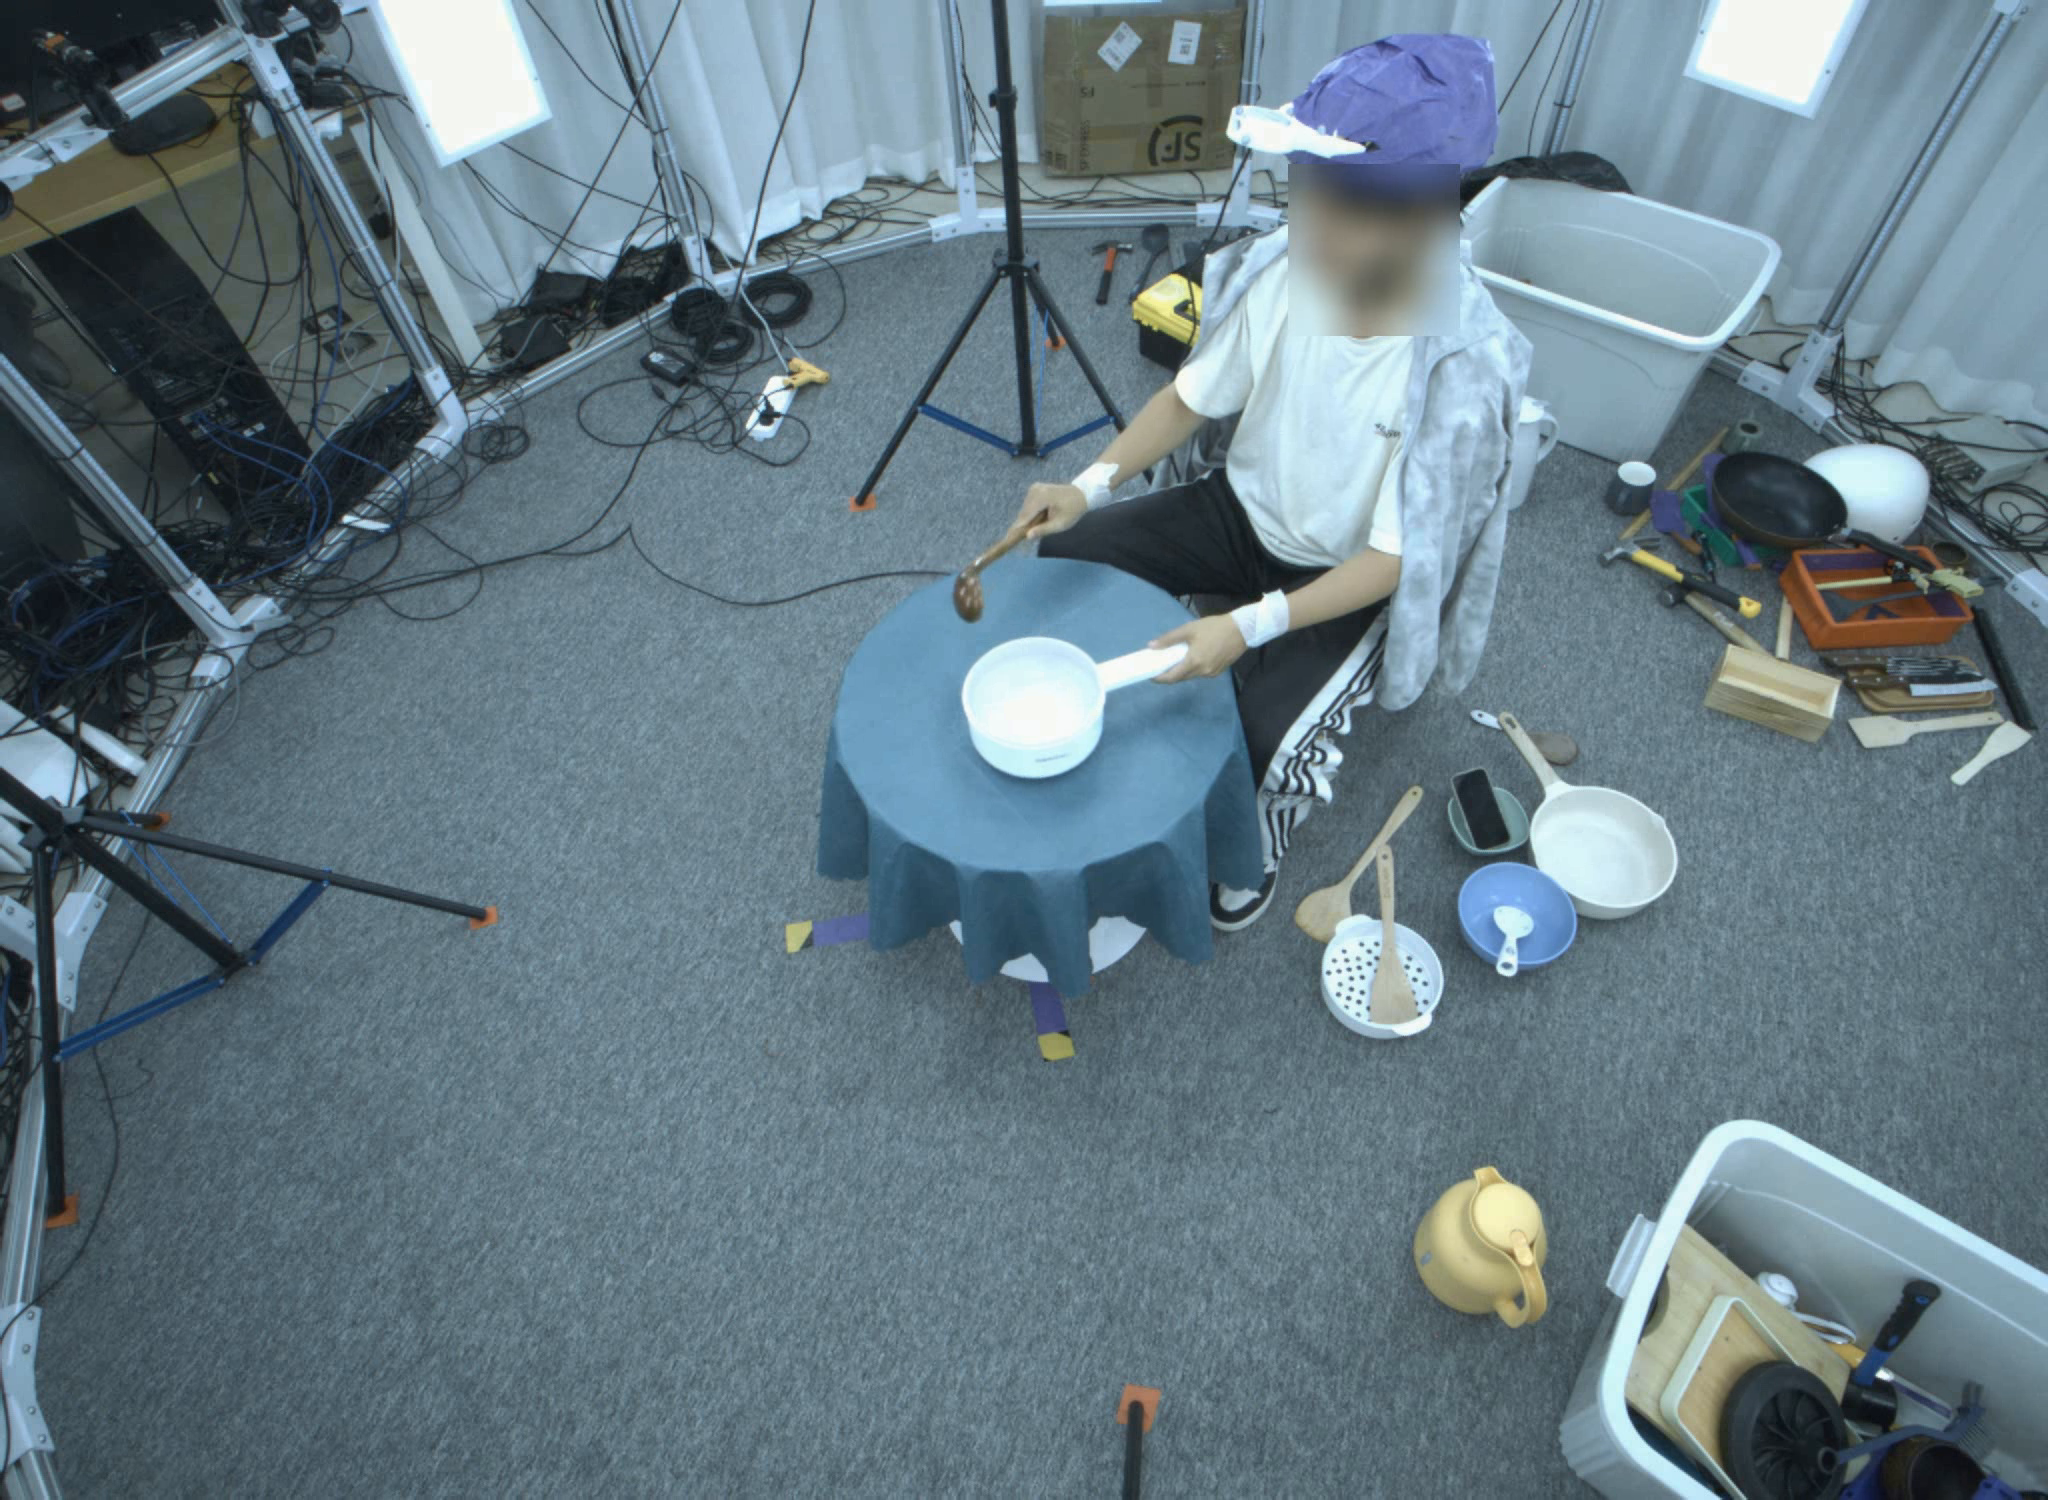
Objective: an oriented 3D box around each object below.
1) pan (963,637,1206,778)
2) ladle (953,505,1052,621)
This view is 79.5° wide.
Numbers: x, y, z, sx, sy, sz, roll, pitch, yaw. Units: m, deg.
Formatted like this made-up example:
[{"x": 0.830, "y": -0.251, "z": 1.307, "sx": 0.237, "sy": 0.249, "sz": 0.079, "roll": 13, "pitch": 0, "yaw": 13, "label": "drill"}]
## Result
[{"x": 0.090, "y": -0.077, "z": 1.781, "sx": 0.357, "sy": 0.103, "sz": 0.197, "roll": -17, "pitch": 55, "yaw": -10, "label": "pan"}, {"x": -0.016, "y": -0.285, "z": 1.833, "sx": 0.076, "sy": 0.081, "sz": 0.276, "roll": 42, "pitch": 52, "yaw": 7, "label": "ladle"}]
